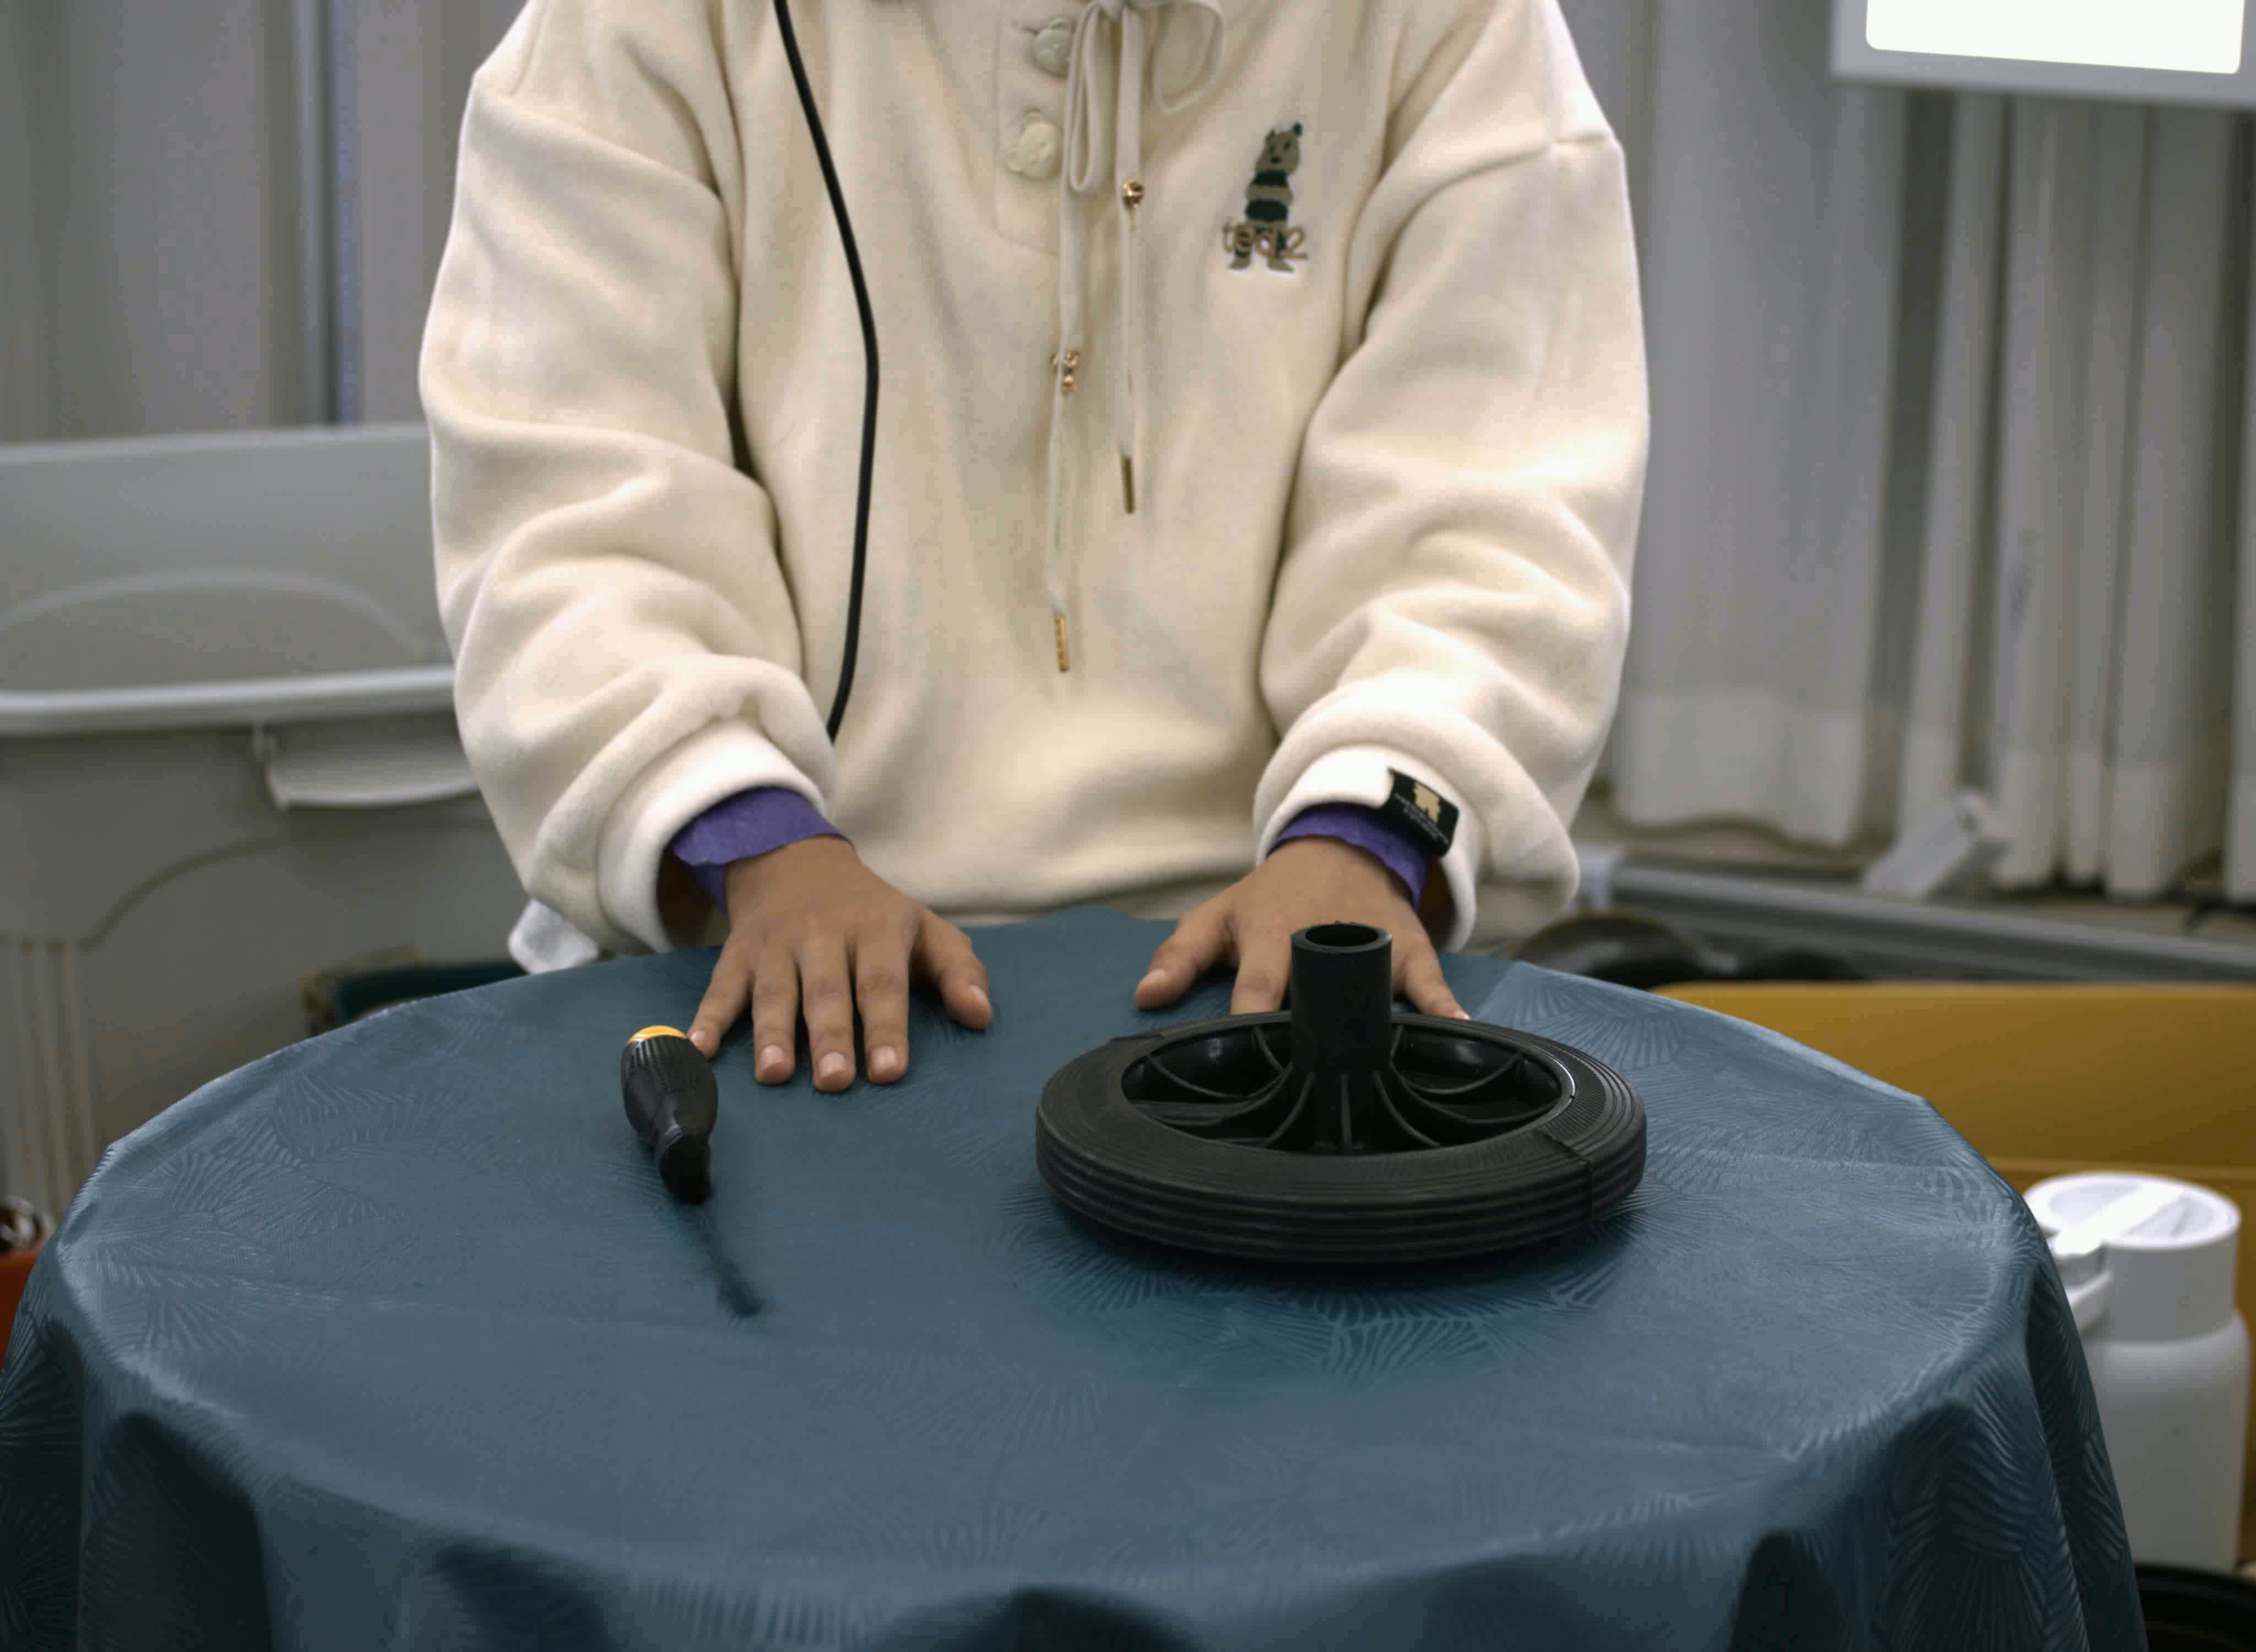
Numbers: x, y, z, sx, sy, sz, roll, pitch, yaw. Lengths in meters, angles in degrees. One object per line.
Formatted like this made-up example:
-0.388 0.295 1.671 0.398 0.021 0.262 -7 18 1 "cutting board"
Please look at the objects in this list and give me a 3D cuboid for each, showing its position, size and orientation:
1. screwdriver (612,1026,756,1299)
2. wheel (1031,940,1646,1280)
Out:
-0.136 0.104 1.602 0.031 0.032 0.196 -2 18 -10 "screwdriver"
0.063 0.077 1.611 0.190 0.080 0.185 -7 17 -14 "wheel"
